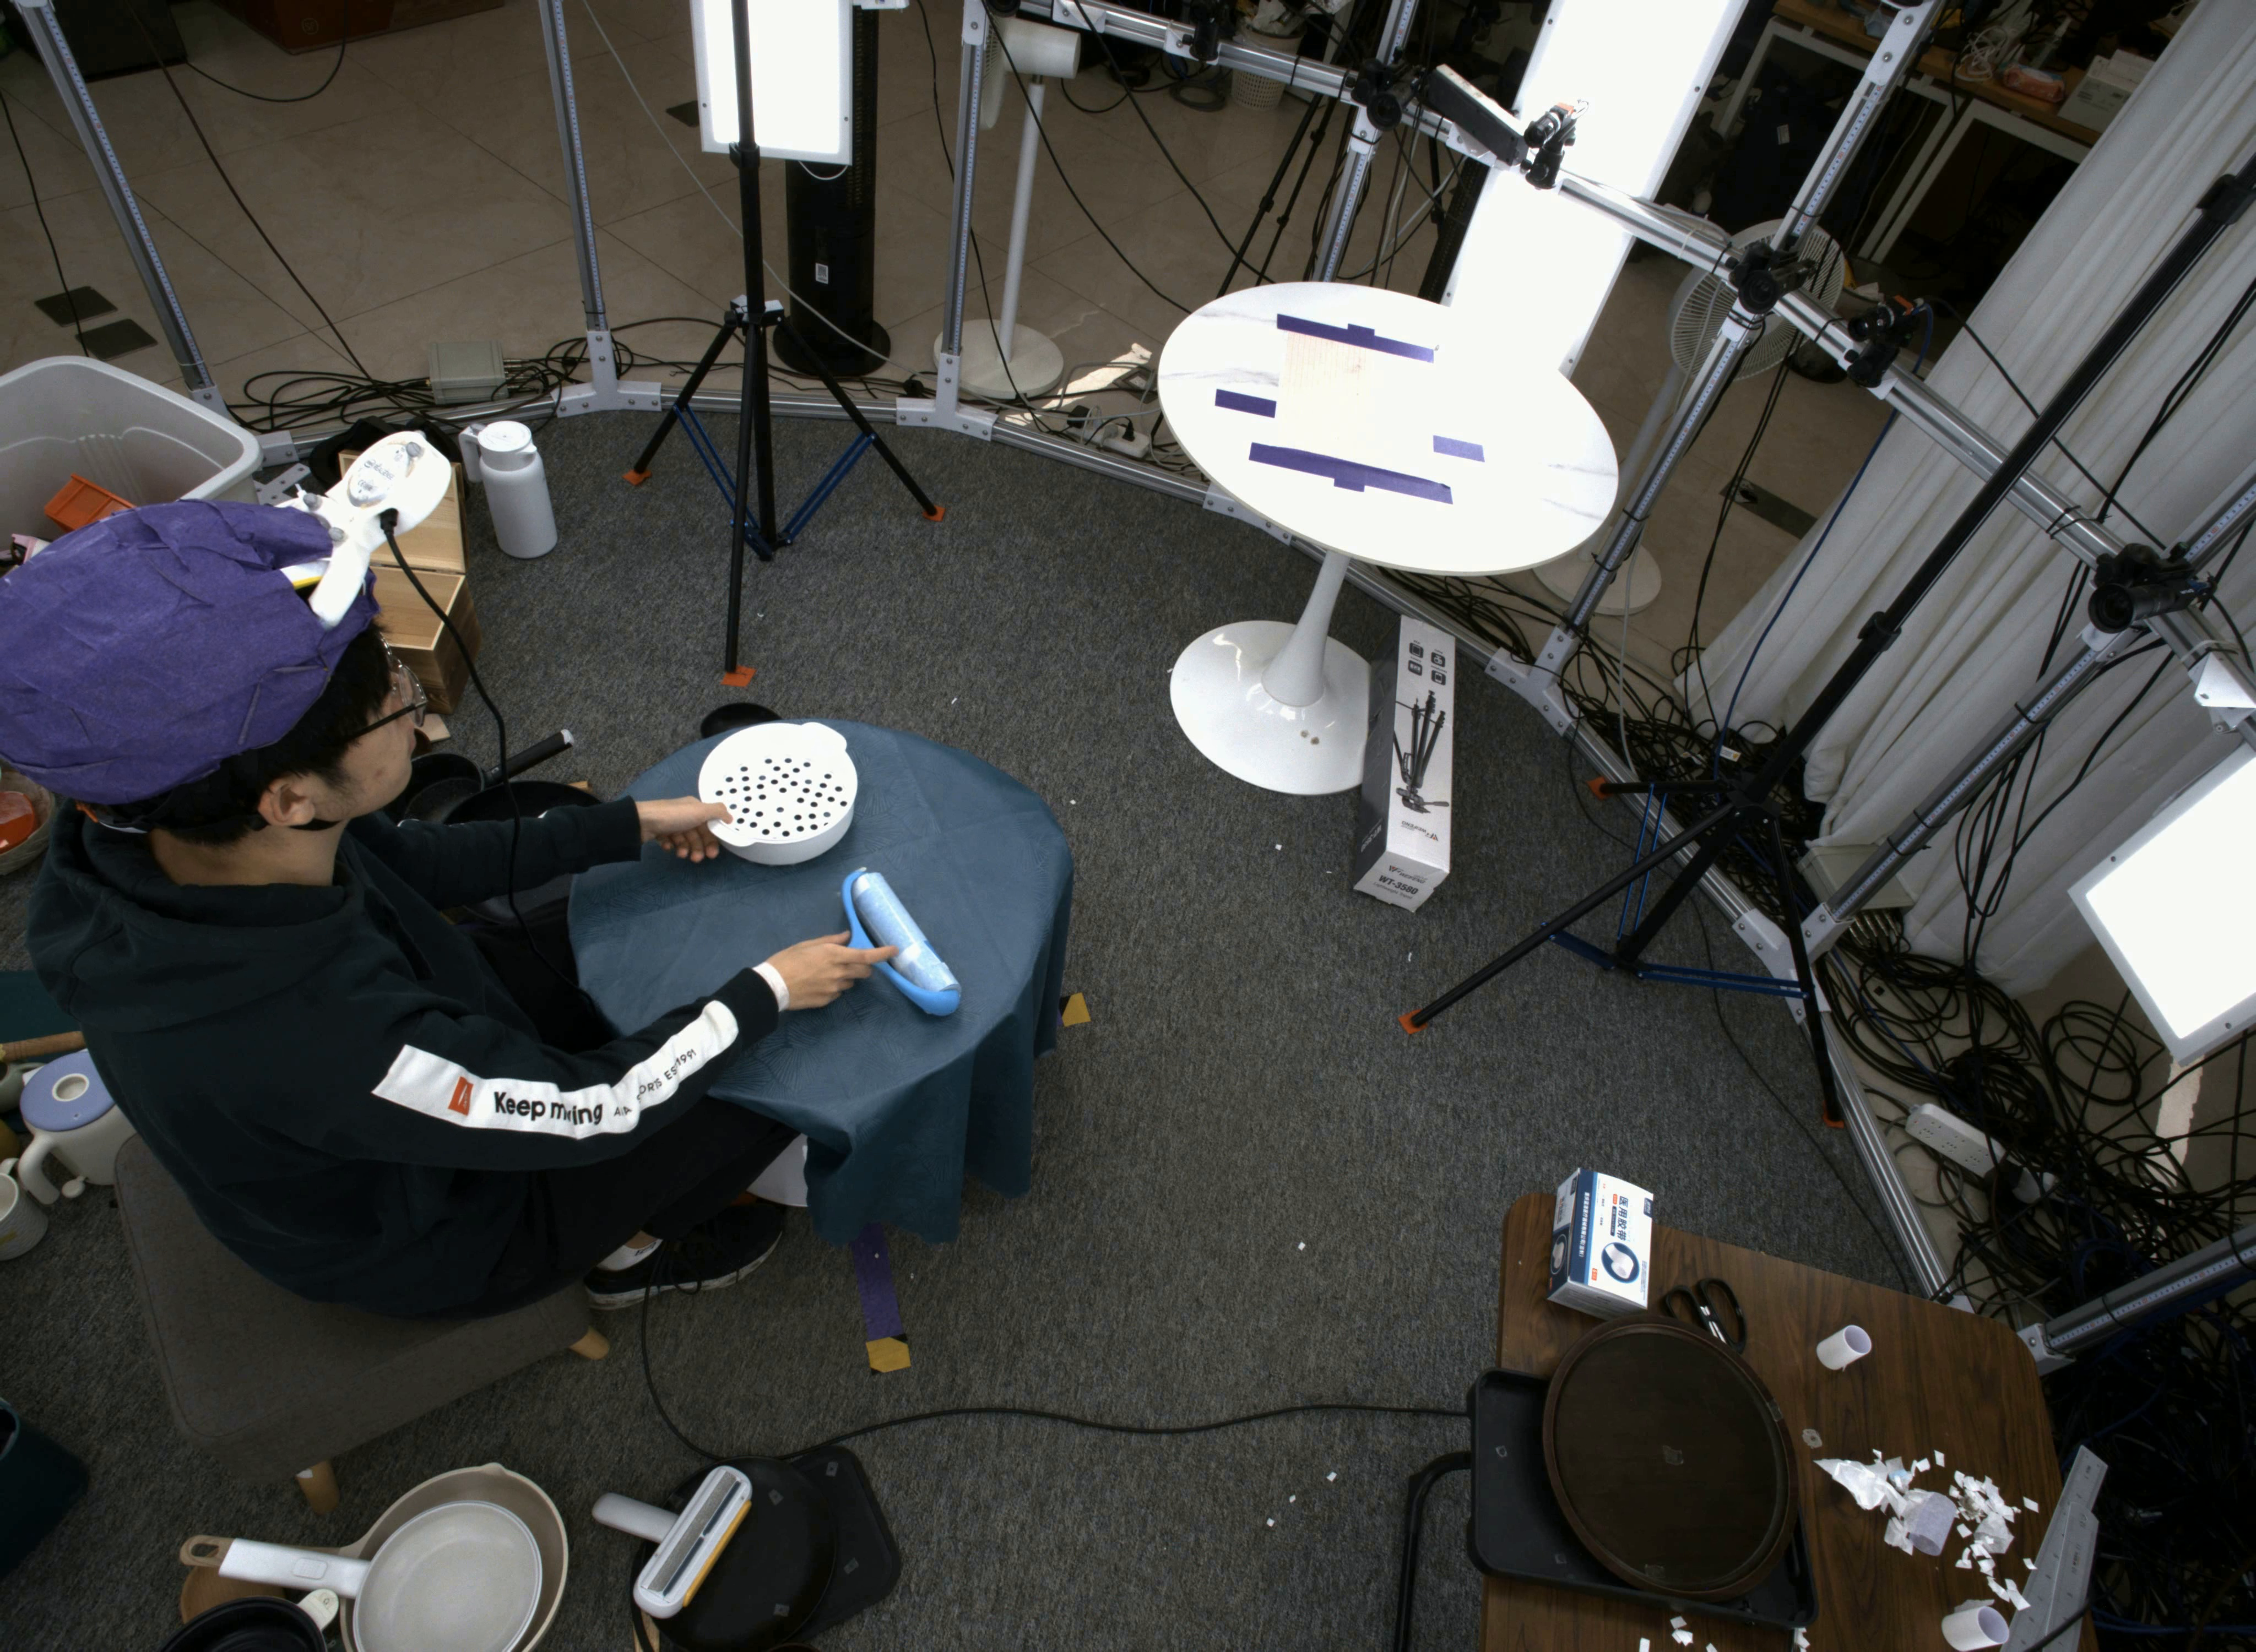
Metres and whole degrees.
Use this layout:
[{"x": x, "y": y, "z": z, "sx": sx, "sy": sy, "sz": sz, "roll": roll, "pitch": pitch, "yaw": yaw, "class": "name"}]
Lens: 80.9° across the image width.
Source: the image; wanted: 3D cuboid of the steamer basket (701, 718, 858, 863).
[{"x": -0.457, "y": -0.045, "z": 1.710, "sx": 0.198, "sy": 0.070, "sz": 0.229, "roll": 29, "pitch": 53, "yaw": 8, "class": "steamer basket"}]

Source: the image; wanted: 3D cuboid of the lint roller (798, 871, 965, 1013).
[{"x": -0.324, "y": 0.166, "z": 1.599, "sx": 0.181, "sy": 0.069, "sz": 0.224, "roll": -31, "pitch": 70, "yaw": -33, "class": "lint roller"}]
